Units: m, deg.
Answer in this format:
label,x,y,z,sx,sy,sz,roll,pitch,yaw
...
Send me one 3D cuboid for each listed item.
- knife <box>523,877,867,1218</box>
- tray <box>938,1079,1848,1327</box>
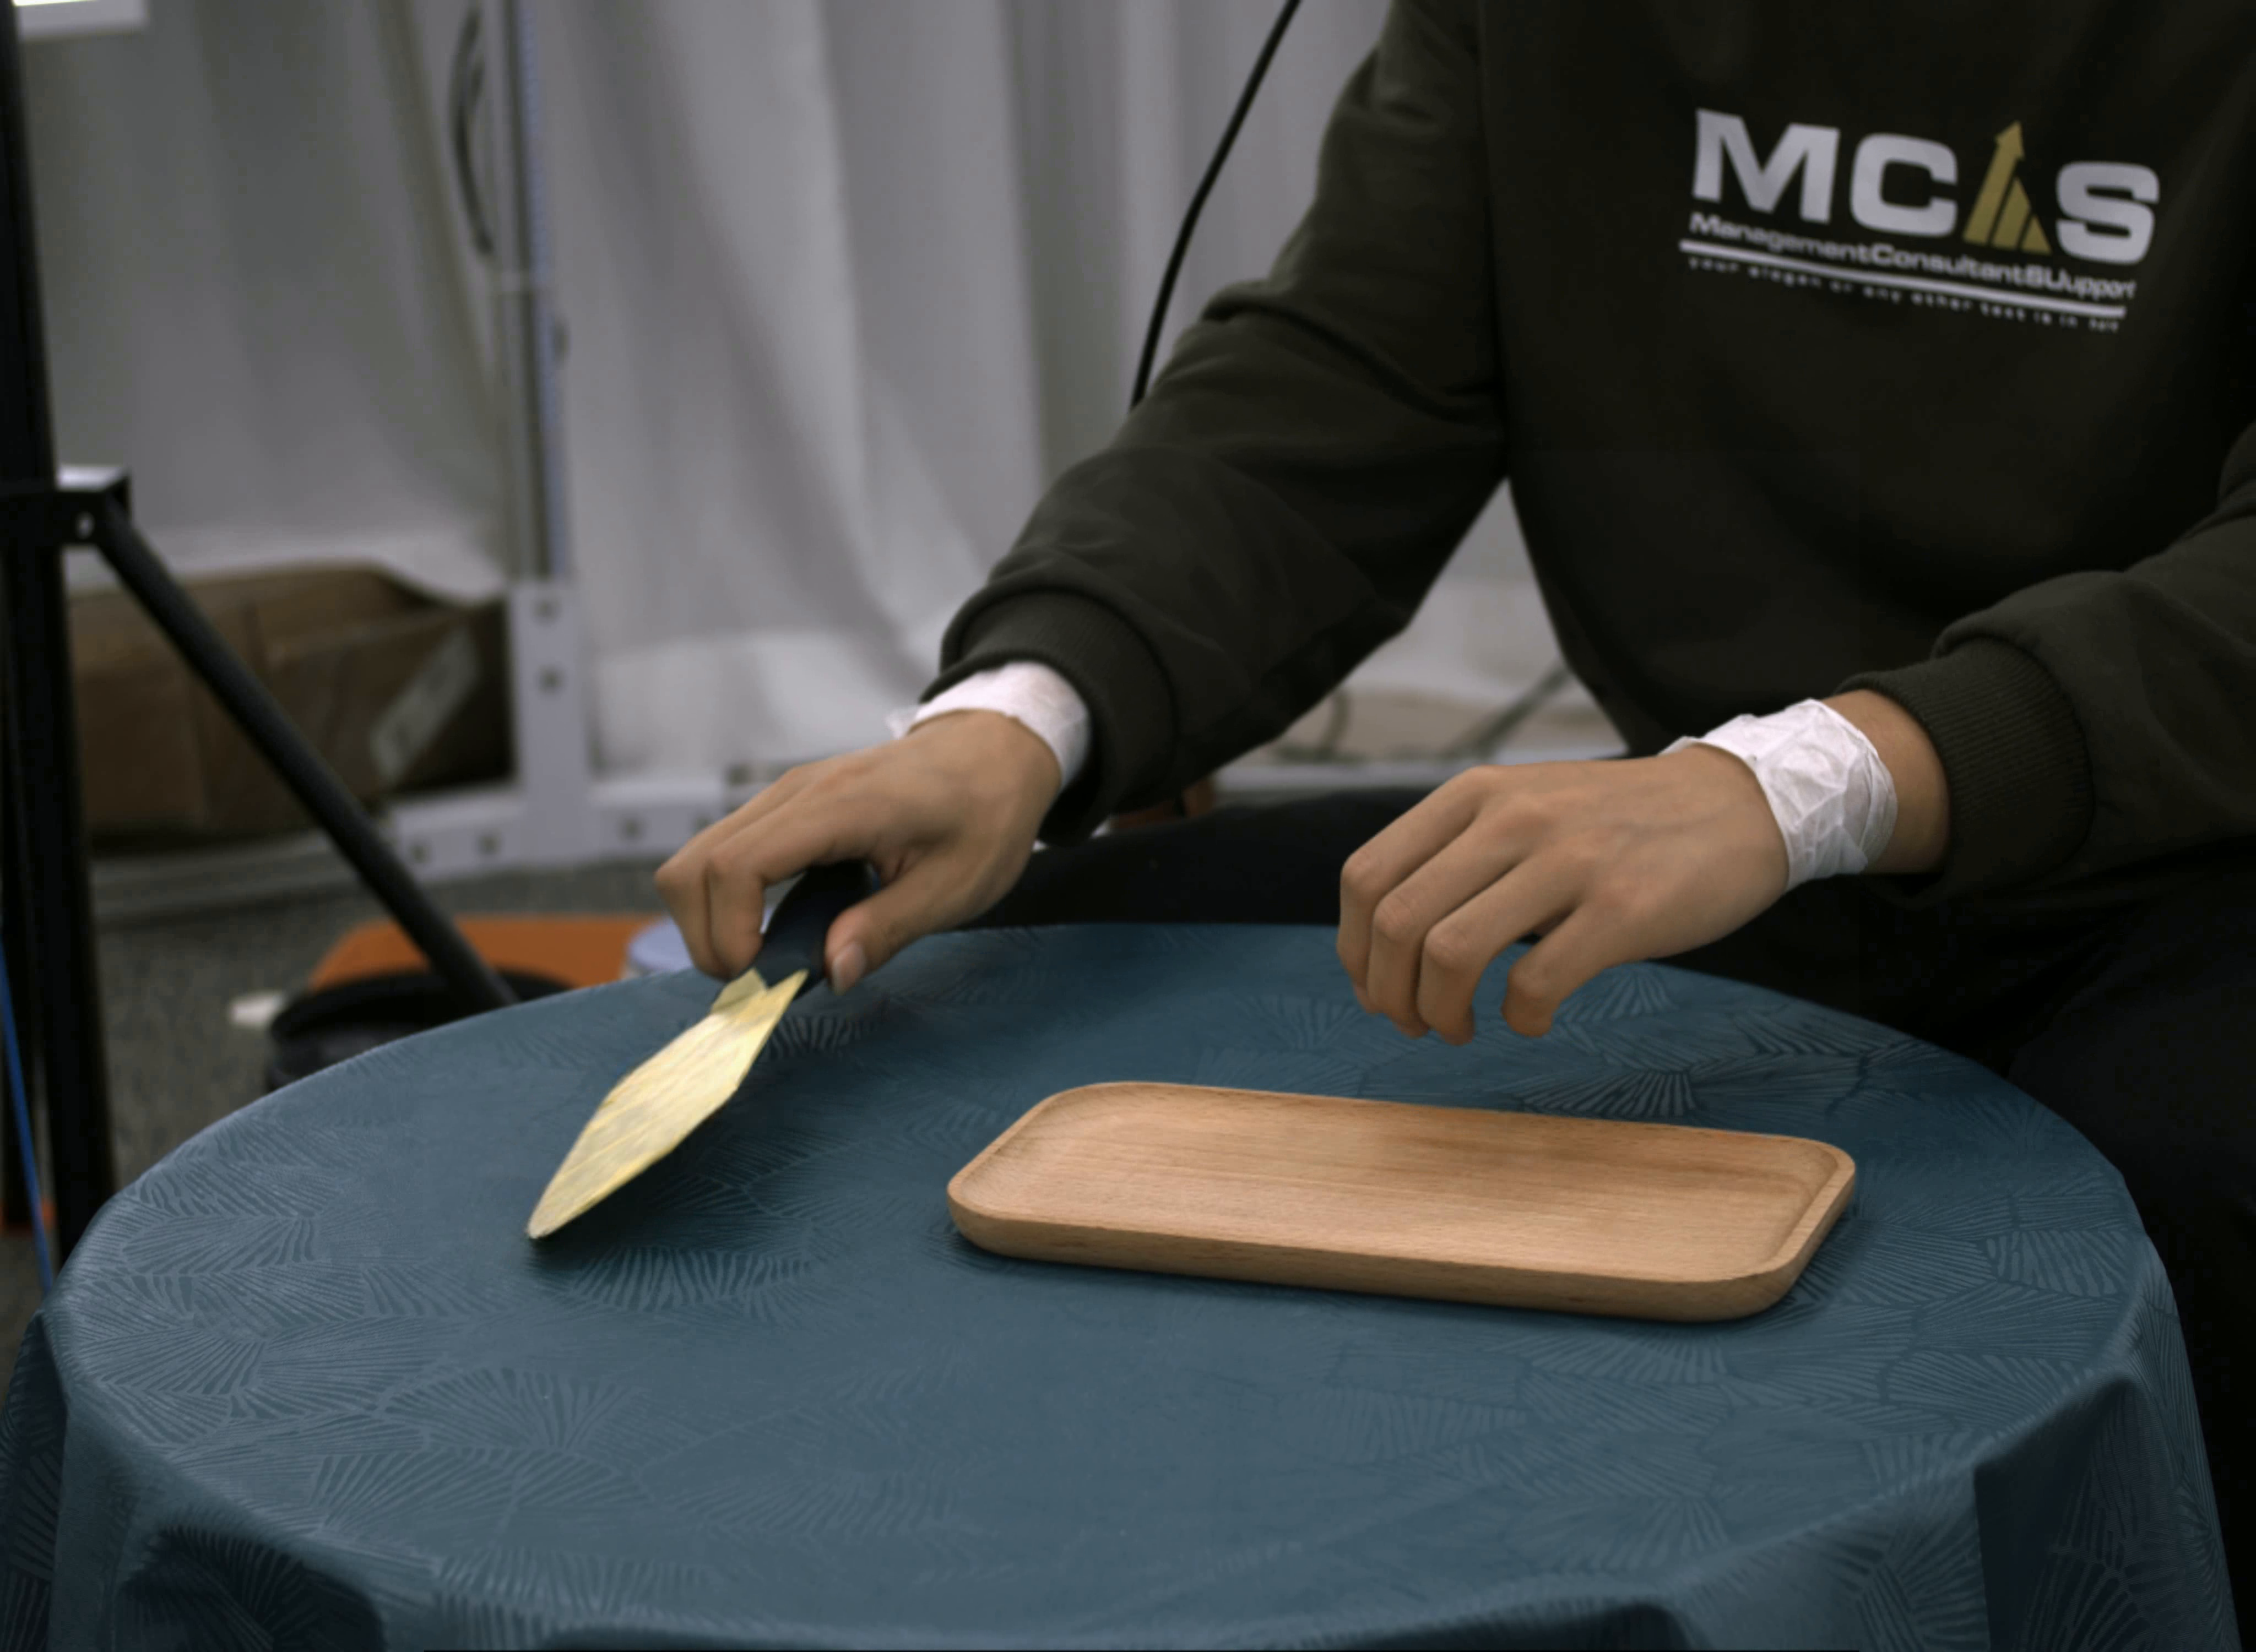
label,x,y,z,sx,sy,sz,roll,pitch,yaw
knife,-0.131,0.068,1.653,0.081,0.027,0.288,-25,10,17
tray,0.076,0.107,1.522,0.254,0.023,0.129,3,14,22
